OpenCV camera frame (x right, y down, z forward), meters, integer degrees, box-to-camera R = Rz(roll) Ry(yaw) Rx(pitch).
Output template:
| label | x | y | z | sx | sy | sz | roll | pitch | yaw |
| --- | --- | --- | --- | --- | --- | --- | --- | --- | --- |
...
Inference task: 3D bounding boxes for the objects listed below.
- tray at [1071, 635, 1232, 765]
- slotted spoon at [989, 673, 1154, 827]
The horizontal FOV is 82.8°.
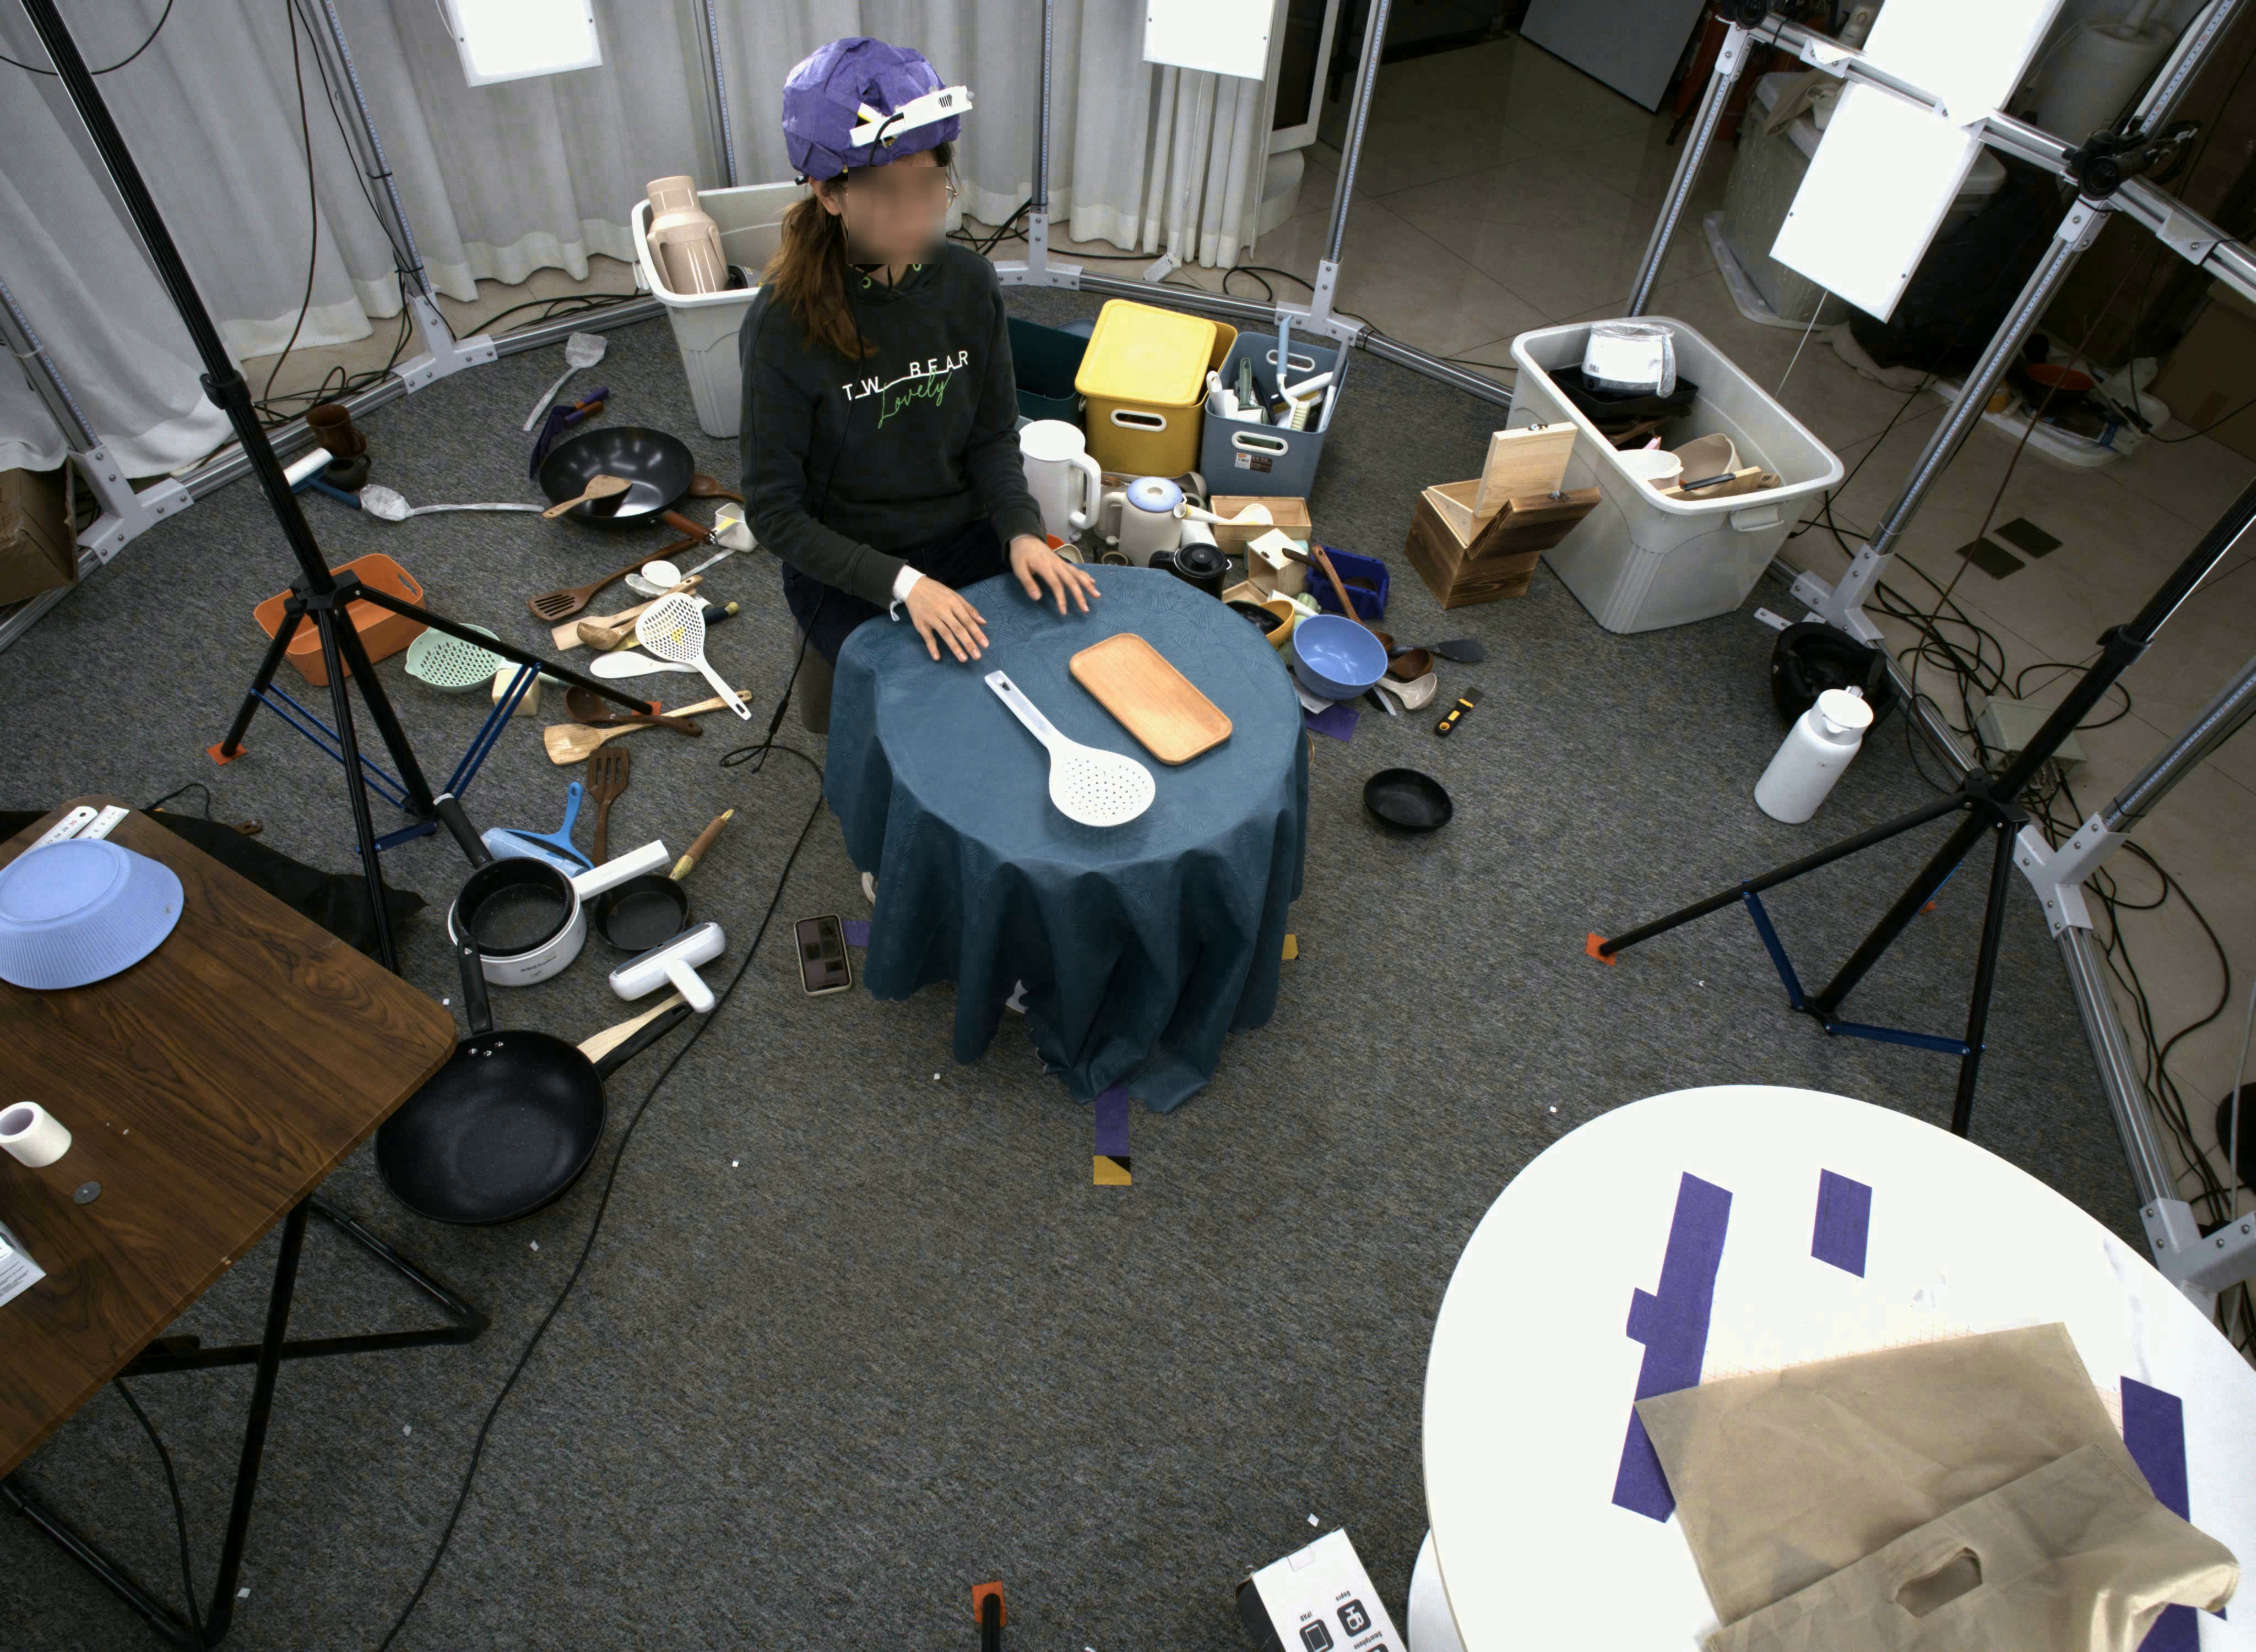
| label | x | y | z | sx | sy | sz | roll | pitch | yaw |
| --- | --- | --- | --- | --- | --- | --- | --- | --- | --- |
| tray | 0.031 | -0.183 | 1.835 | 0.131 | 0.022 | 0.255 | -26 | 55 | -26 |
| slotted spoon | -0.094 | -0.108 | 1.742 | 0.136 | 0.044 | 0.357 | -23 | 53 | -25 |
